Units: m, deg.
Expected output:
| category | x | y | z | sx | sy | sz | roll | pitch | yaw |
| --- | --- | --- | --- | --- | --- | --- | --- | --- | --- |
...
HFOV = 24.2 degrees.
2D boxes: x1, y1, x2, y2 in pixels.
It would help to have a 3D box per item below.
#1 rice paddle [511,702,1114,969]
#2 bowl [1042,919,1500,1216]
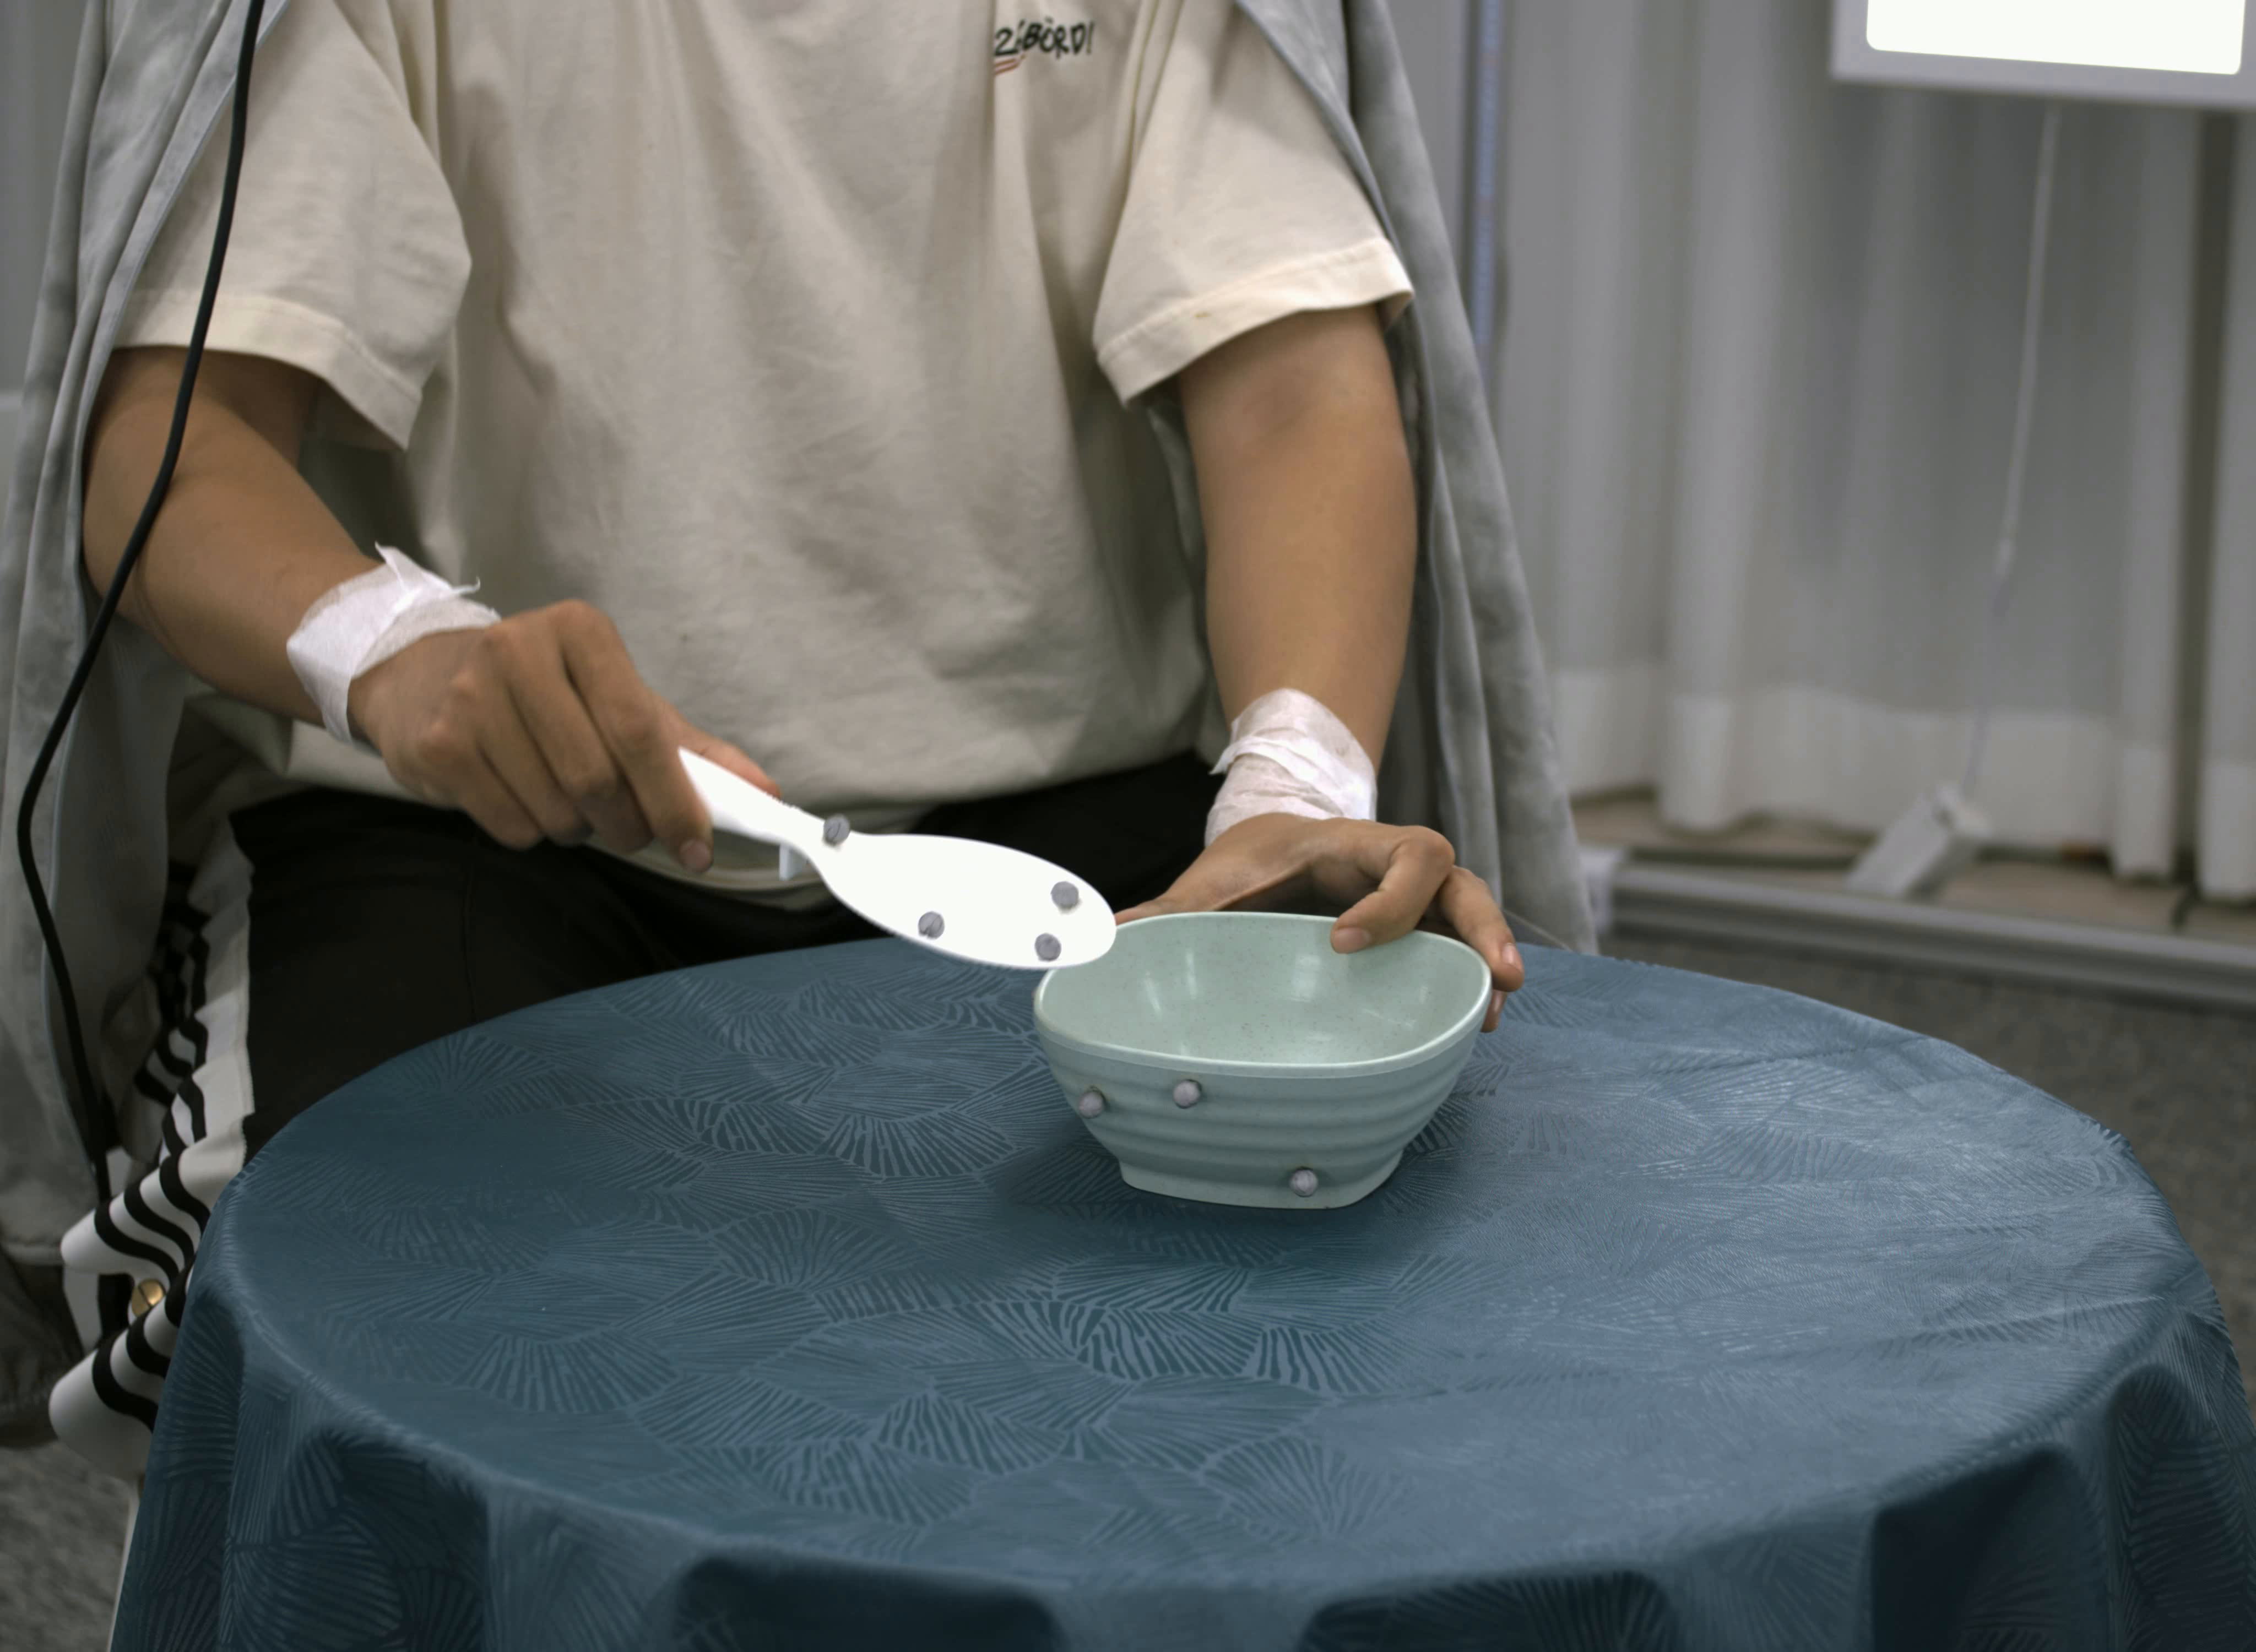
| category | x | y | z | sx | sy | sz | roll | pitch | yaw |
| --- | --- | --- | --- | --- | --- | --- | --- | --- | --- |
| rice paddle | -0.096 | 0.004 | 1.612 | 0.203 | 0.030 | 0.069 | 19 | 31 | 22 |
| bowl | 0.046 | 0.079 | 1.643 | 0.151 | 0.059 | 0.150 | -1 | 18 | 1 |
